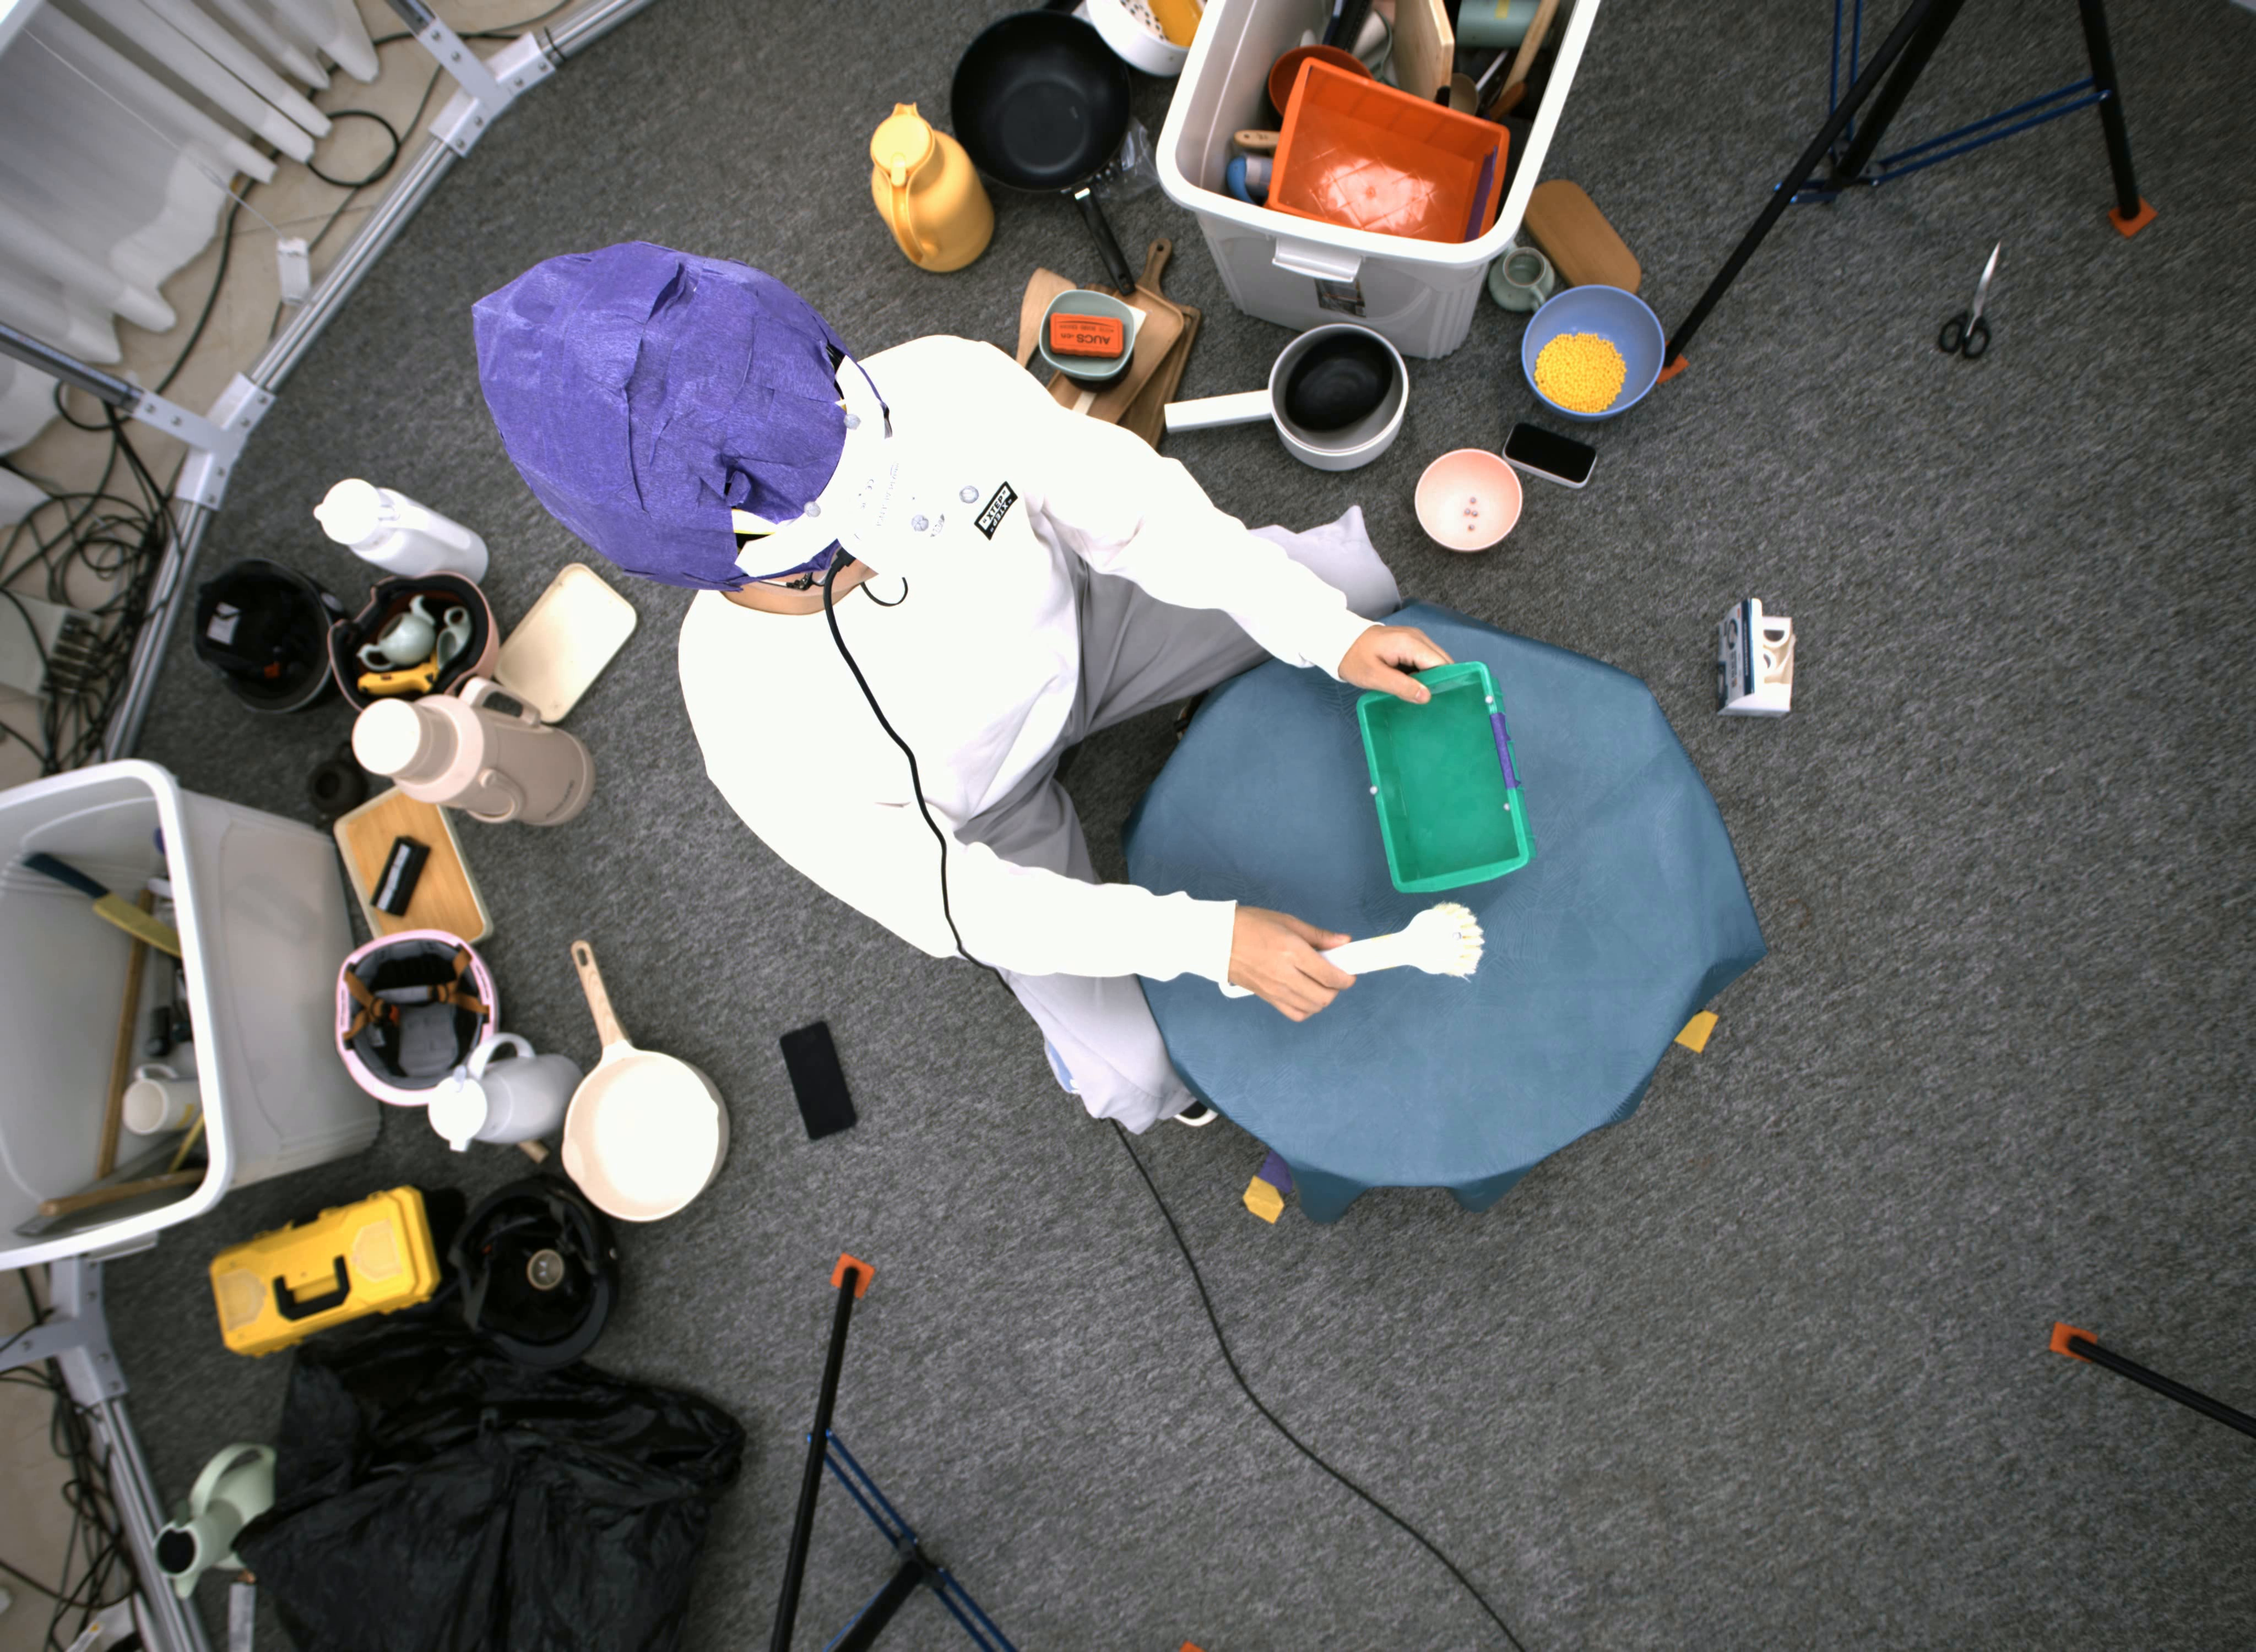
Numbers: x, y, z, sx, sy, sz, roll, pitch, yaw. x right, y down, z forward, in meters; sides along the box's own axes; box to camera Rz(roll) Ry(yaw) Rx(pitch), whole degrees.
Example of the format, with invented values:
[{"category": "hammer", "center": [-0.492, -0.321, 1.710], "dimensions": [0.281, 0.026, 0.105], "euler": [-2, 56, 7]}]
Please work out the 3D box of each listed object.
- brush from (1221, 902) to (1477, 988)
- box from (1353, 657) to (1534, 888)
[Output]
[{"category": "brush", "center": [0.214, 0.124, 1.349], "dimensions": [0.270, 0.056, 0.067], "euler": [-18, 65, 36]}, {"category": "box", "center": [0.309, -0.050, 1.333], "dimensions": [0.140, 0.065, 0.209], "euler": [-15, 81, 32]}]
